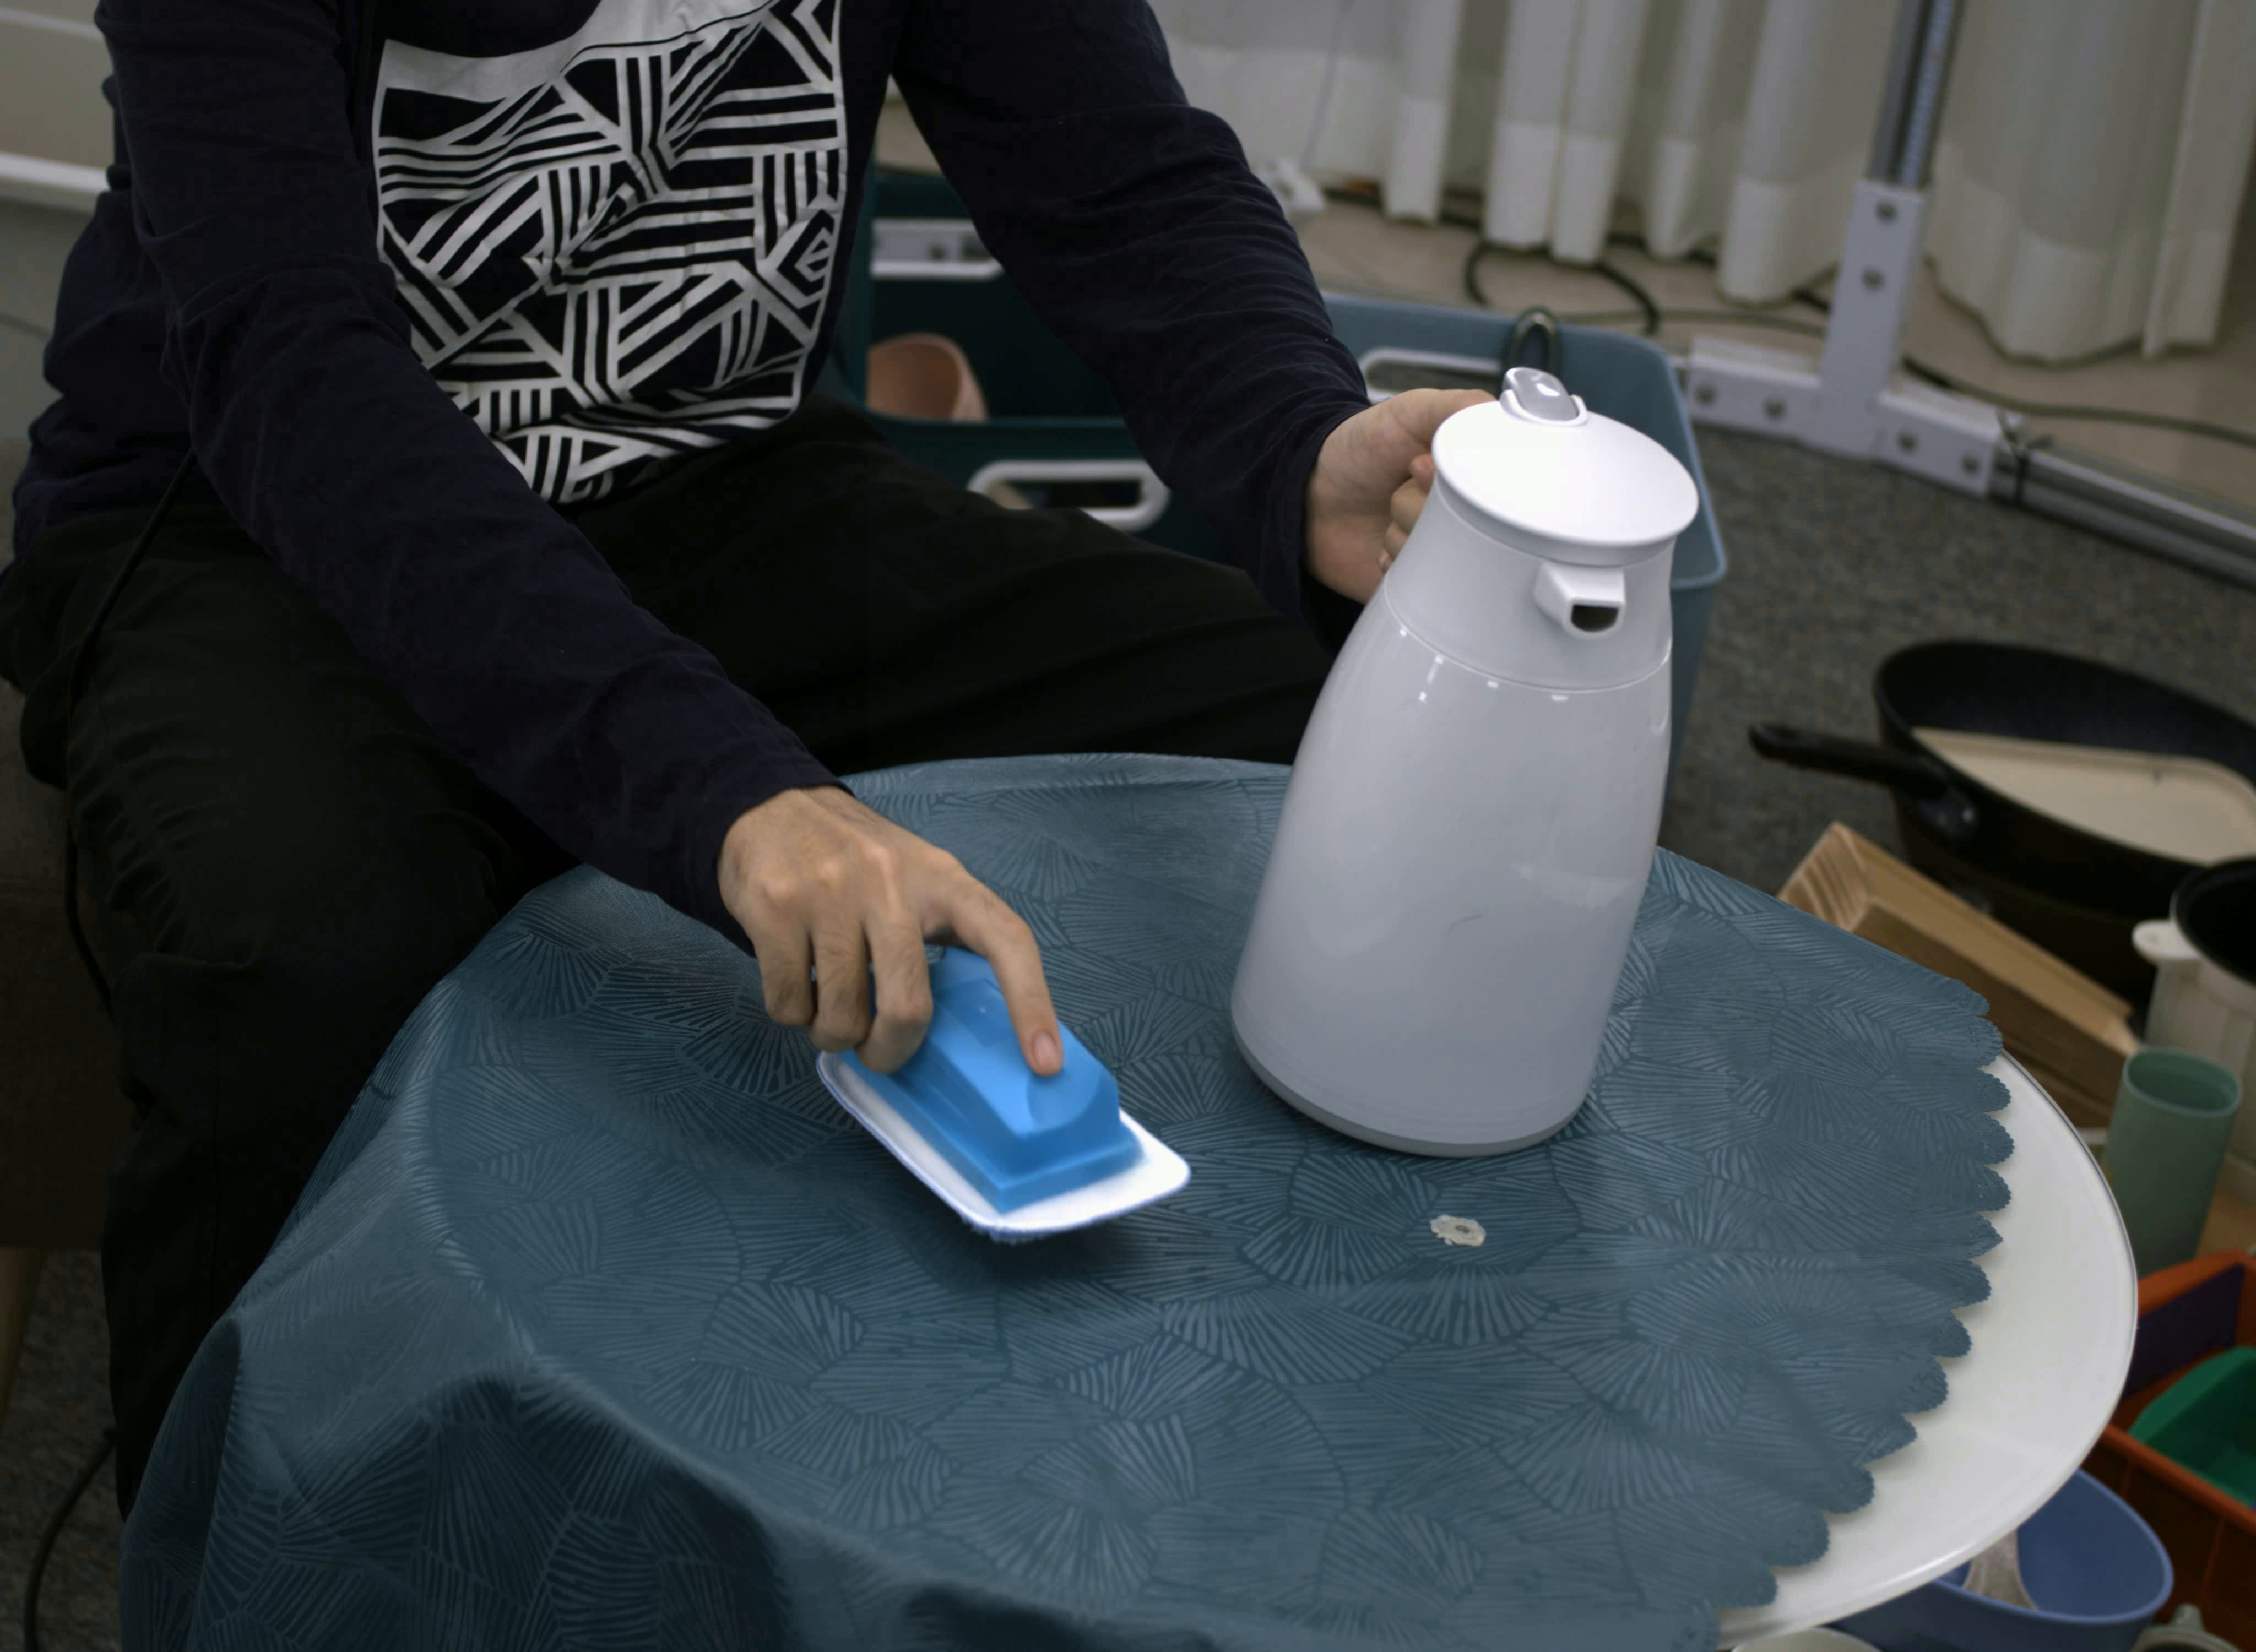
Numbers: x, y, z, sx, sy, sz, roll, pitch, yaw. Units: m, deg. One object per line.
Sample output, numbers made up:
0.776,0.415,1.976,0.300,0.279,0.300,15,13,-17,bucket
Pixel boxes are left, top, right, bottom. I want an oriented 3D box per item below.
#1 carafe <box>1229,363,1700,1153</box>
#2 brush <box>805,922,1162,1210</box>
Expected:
0.119,-0.035,1.849,0.132,0.248,0.169,3,32,-15,carafe
-0.048,0.077,1.787,0.083,0.056,0.145,-12,31,-23,brush
